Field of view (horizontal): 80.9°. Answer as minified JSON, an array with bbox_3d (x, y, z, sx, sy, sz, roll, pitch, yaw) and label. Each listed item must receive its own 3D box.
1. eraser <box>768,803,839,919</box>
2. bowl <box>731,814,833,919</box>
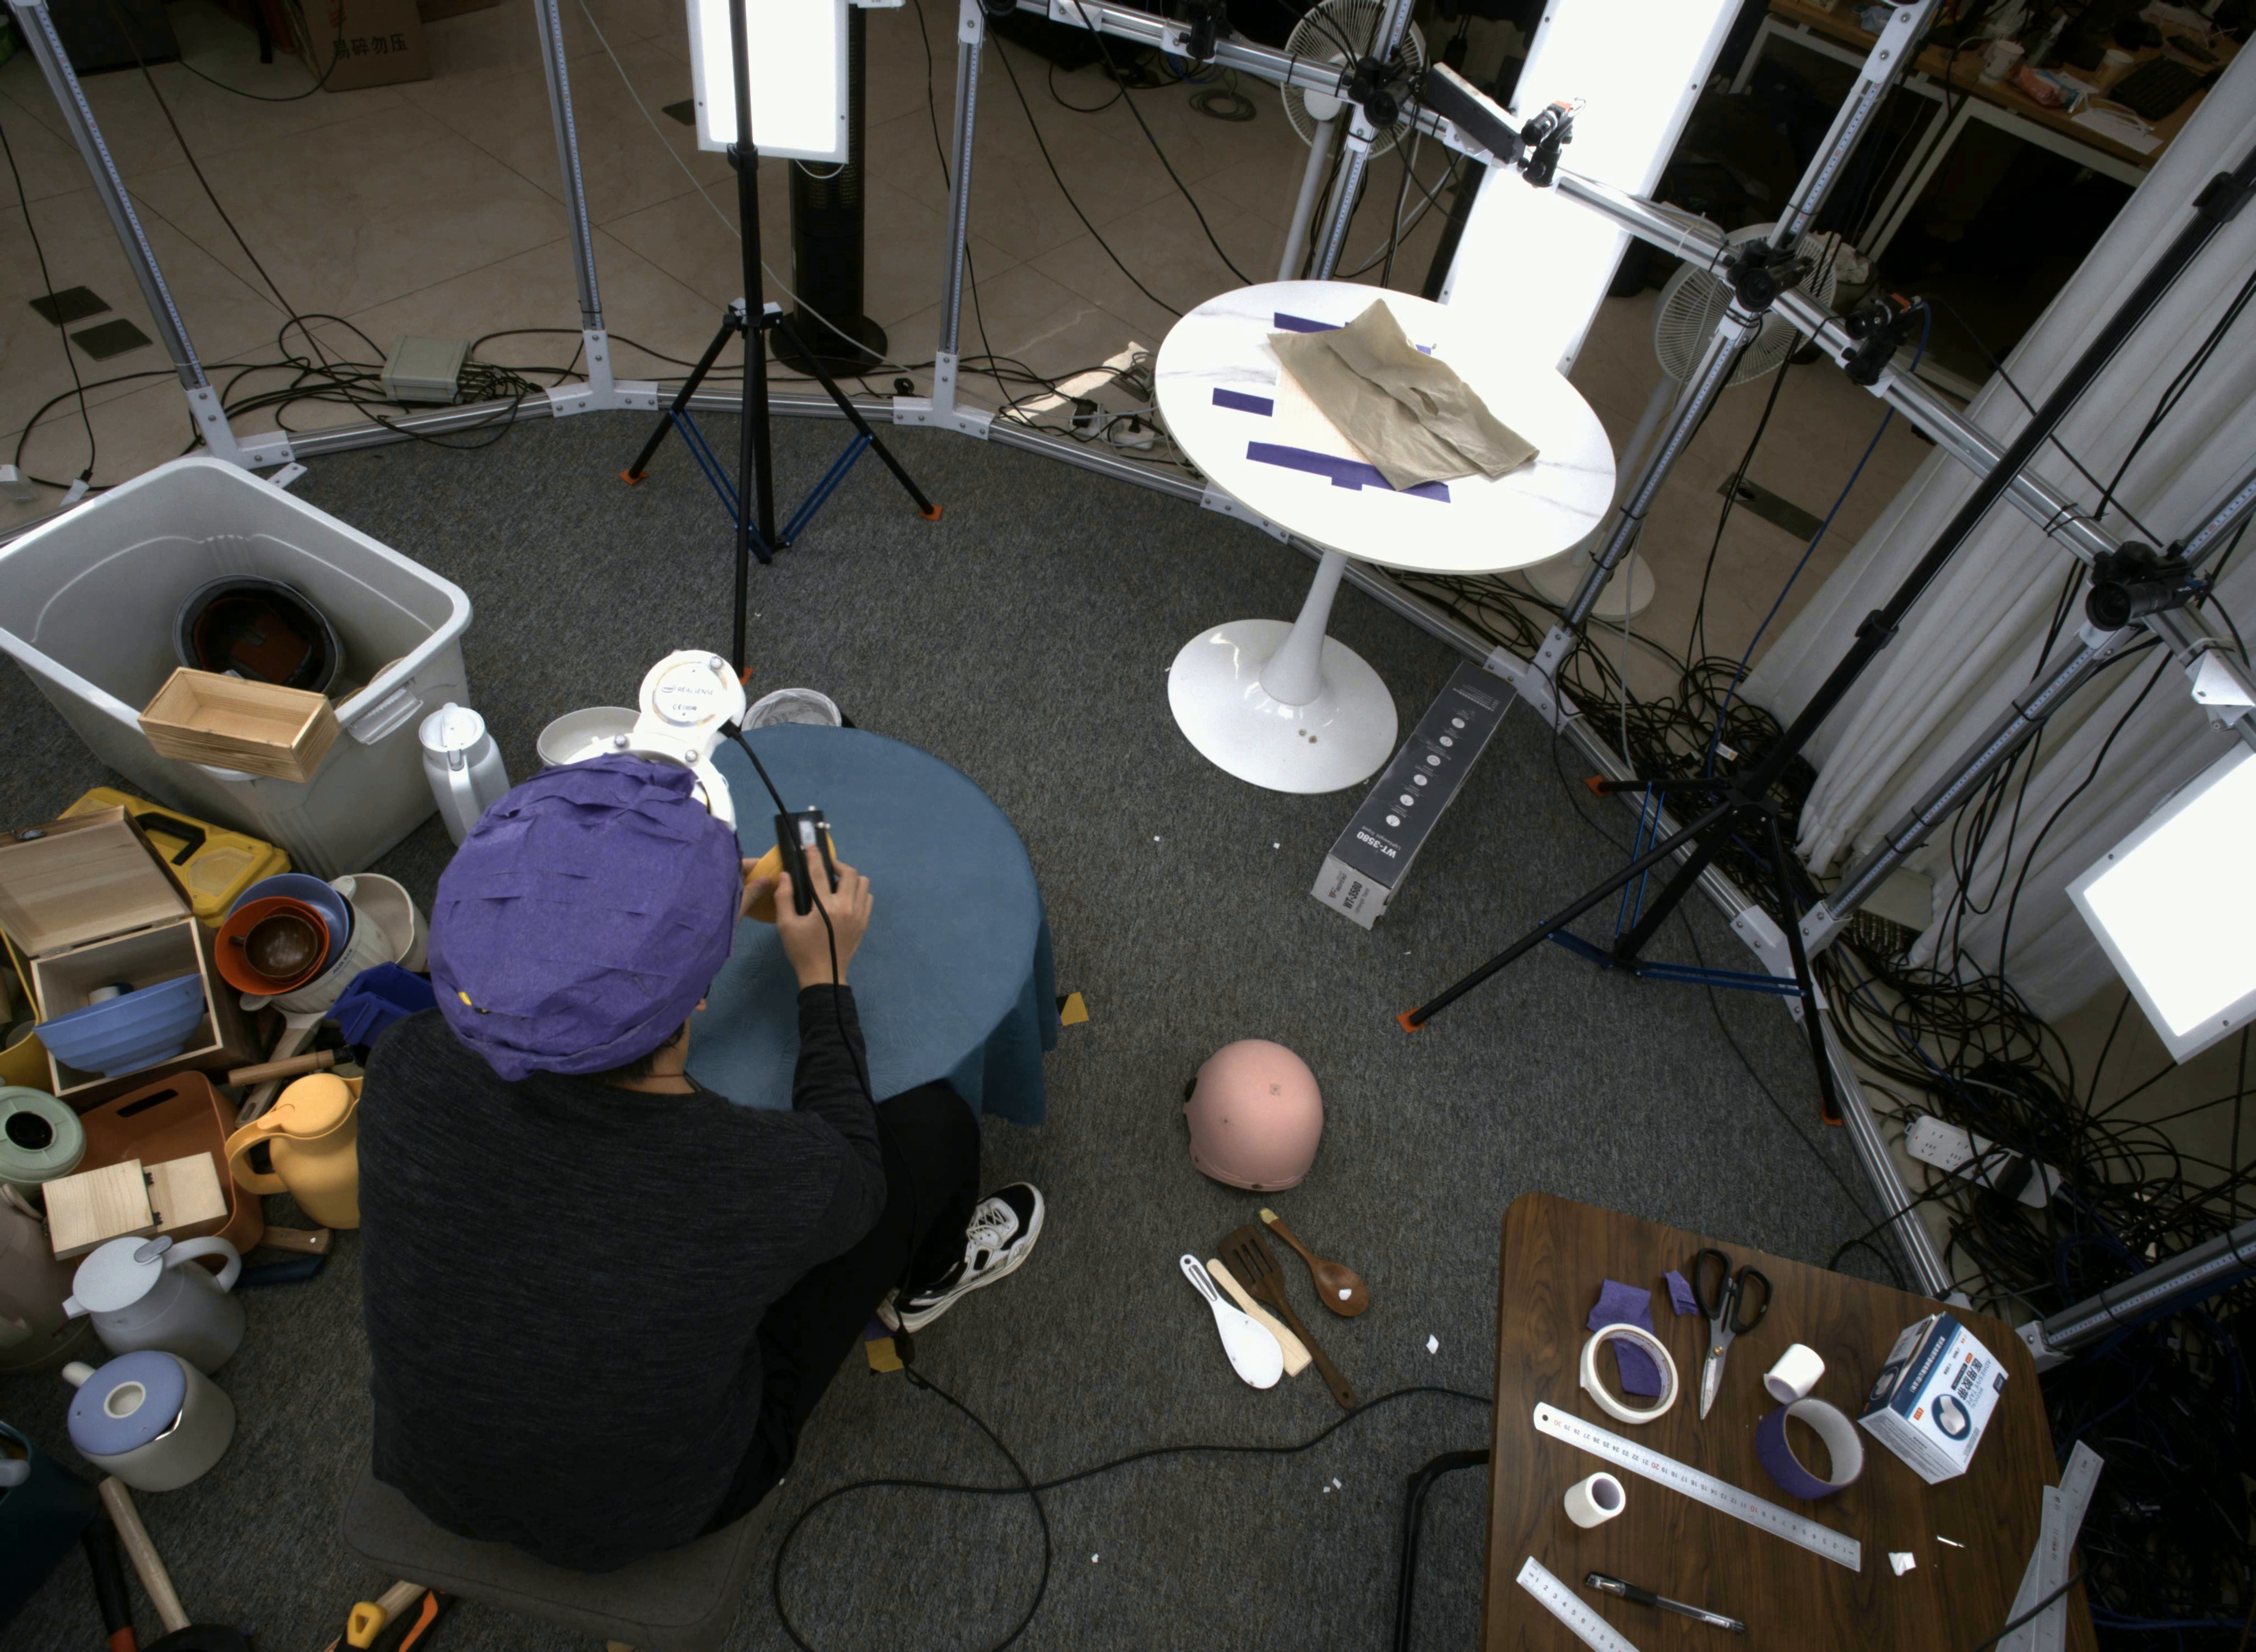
[{"bbox_3d":[-0.370,0.039,1.477,0.054,0.030,0.126,-12,87,-38],"label":"eraser"},{"bbox_3d":[-0.395,0.058,1.532,0.059,0.147,0.145,40,54,10],"label":"bowl"}]
